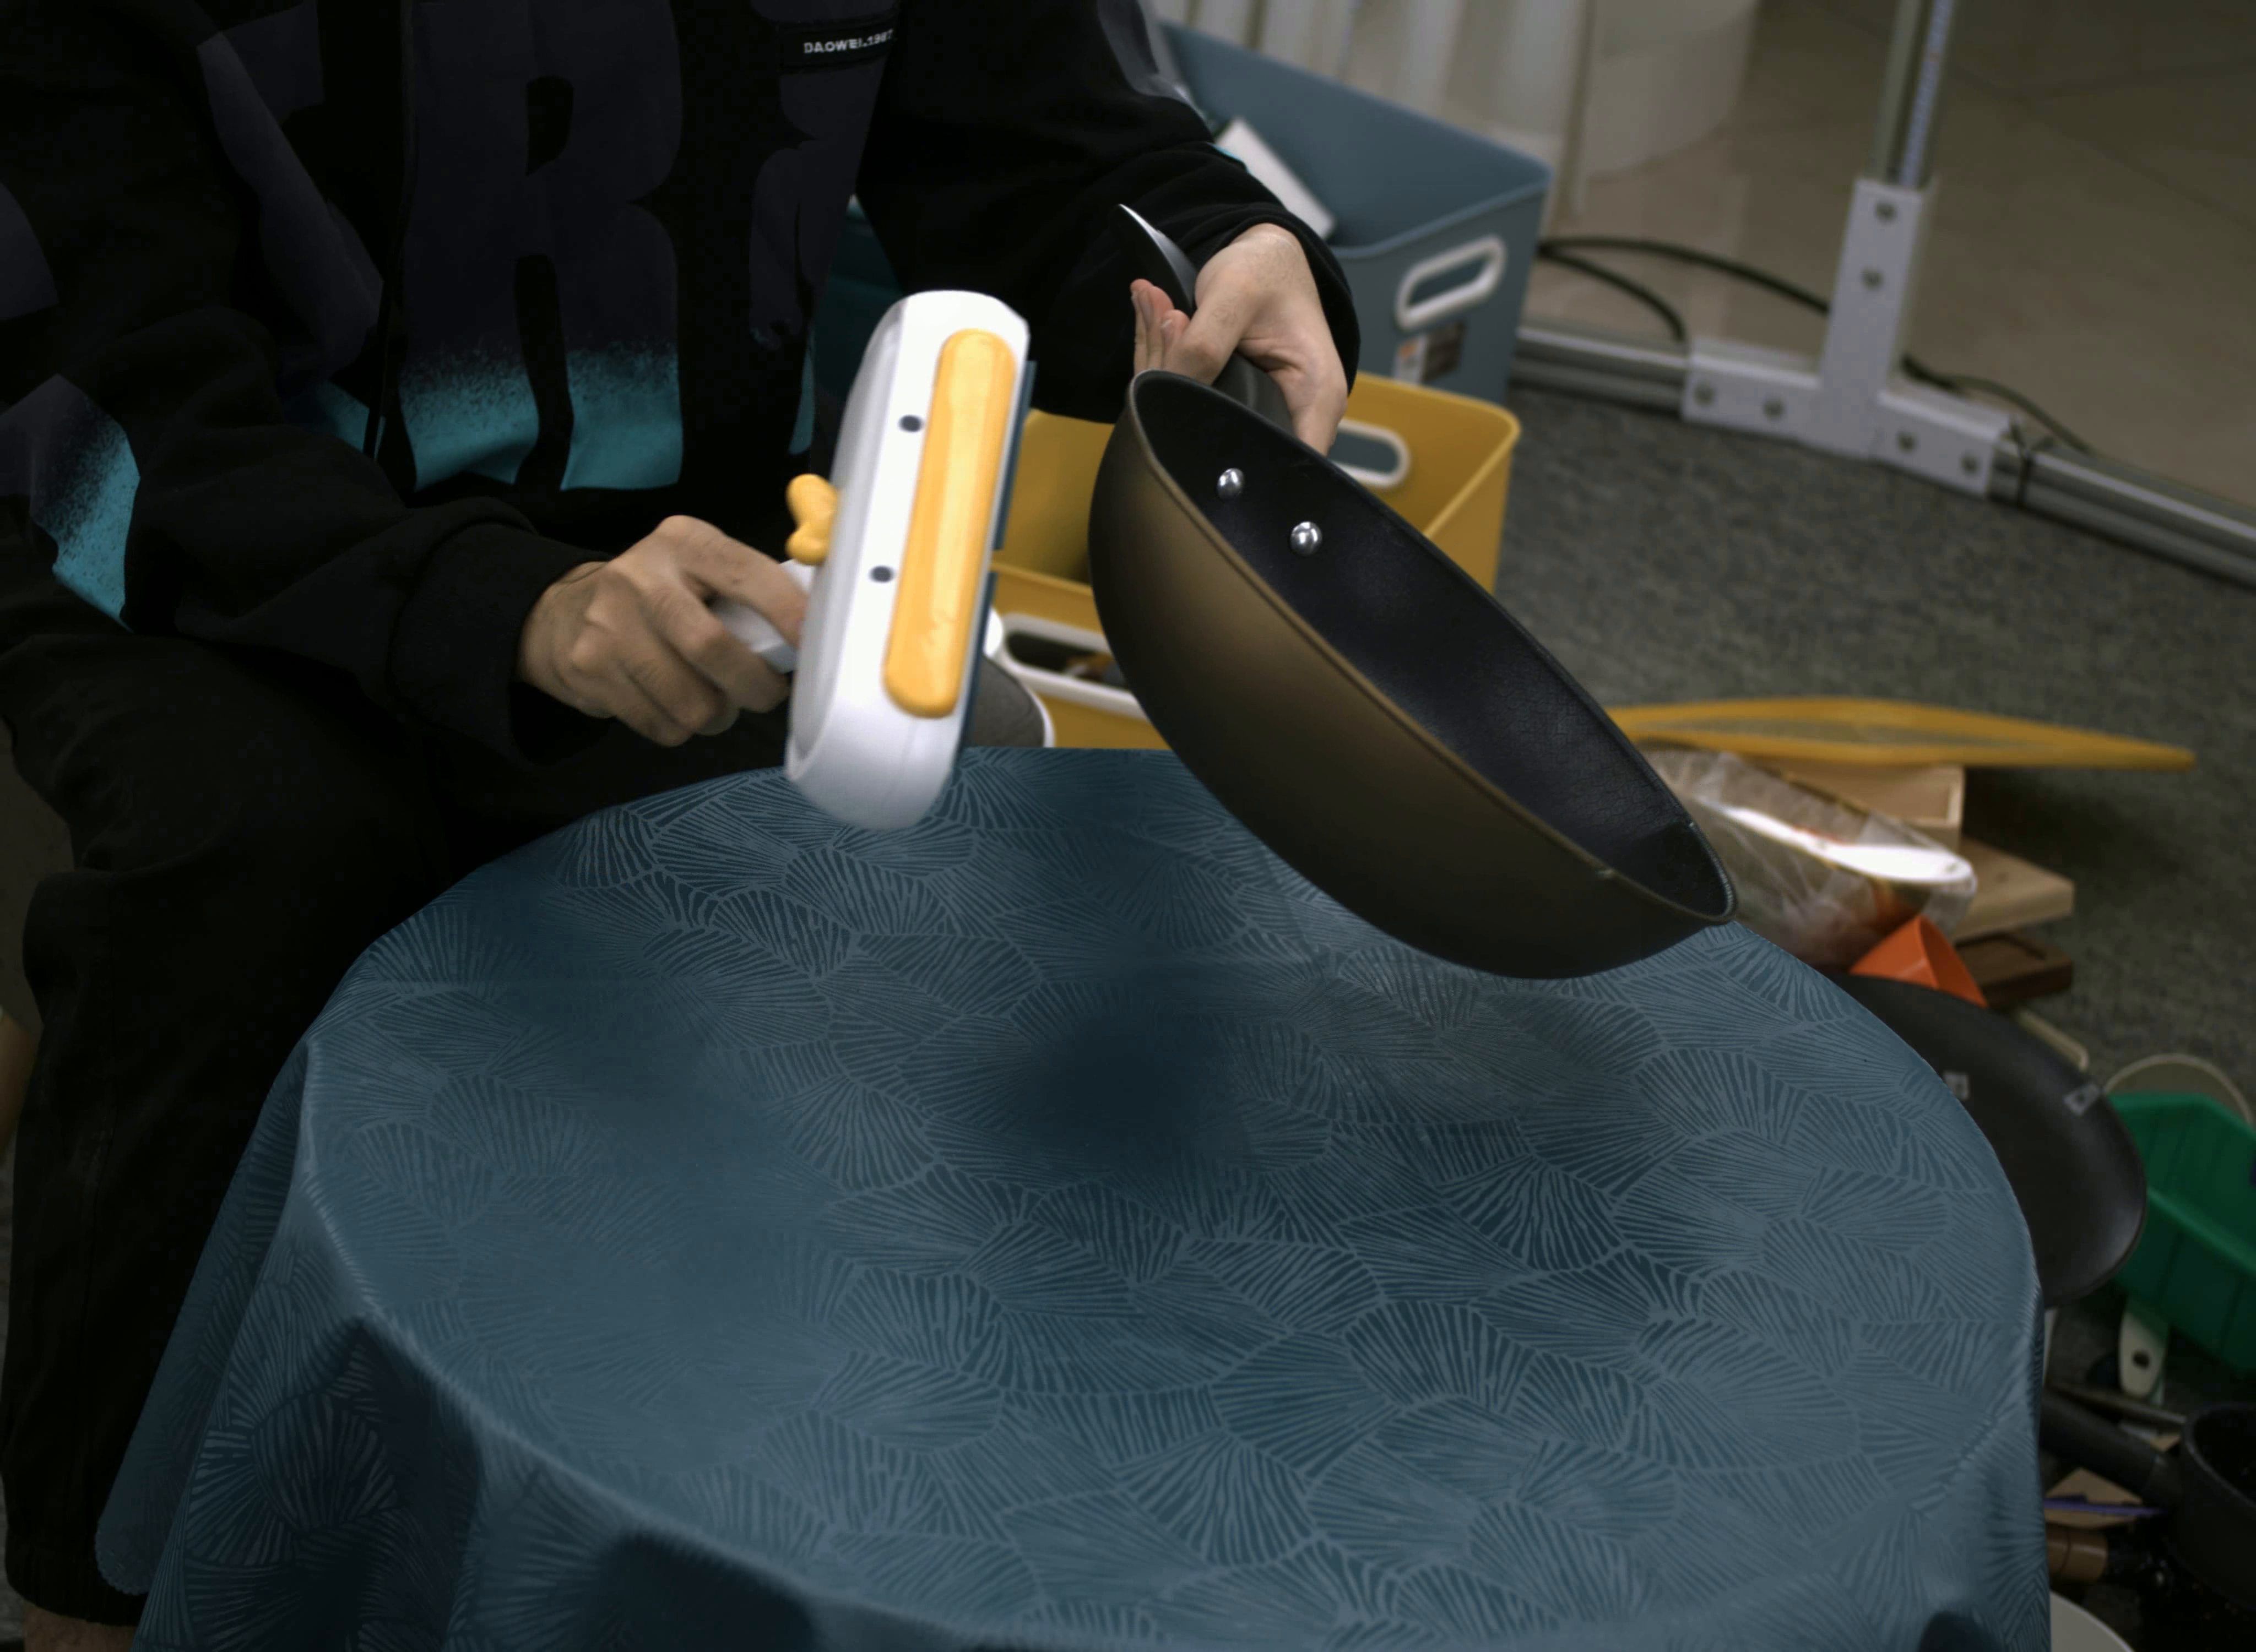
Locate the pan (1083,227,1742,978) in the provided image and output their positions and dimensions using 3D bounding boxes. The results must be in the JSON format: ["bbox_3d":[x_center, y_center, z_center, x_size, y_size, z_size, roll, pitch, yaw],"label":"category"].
[{"bbox_3d":[0.054,-0.087,1.921,0.285,0.087,0.468,32,16,-35],"label":"pan"}]

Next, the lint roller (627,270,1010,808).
[{"bbox_3d":[-0.109,-0.077,1.828,0.073,0.192,0.194,16,61,-23],"label":"lint roller"}]
